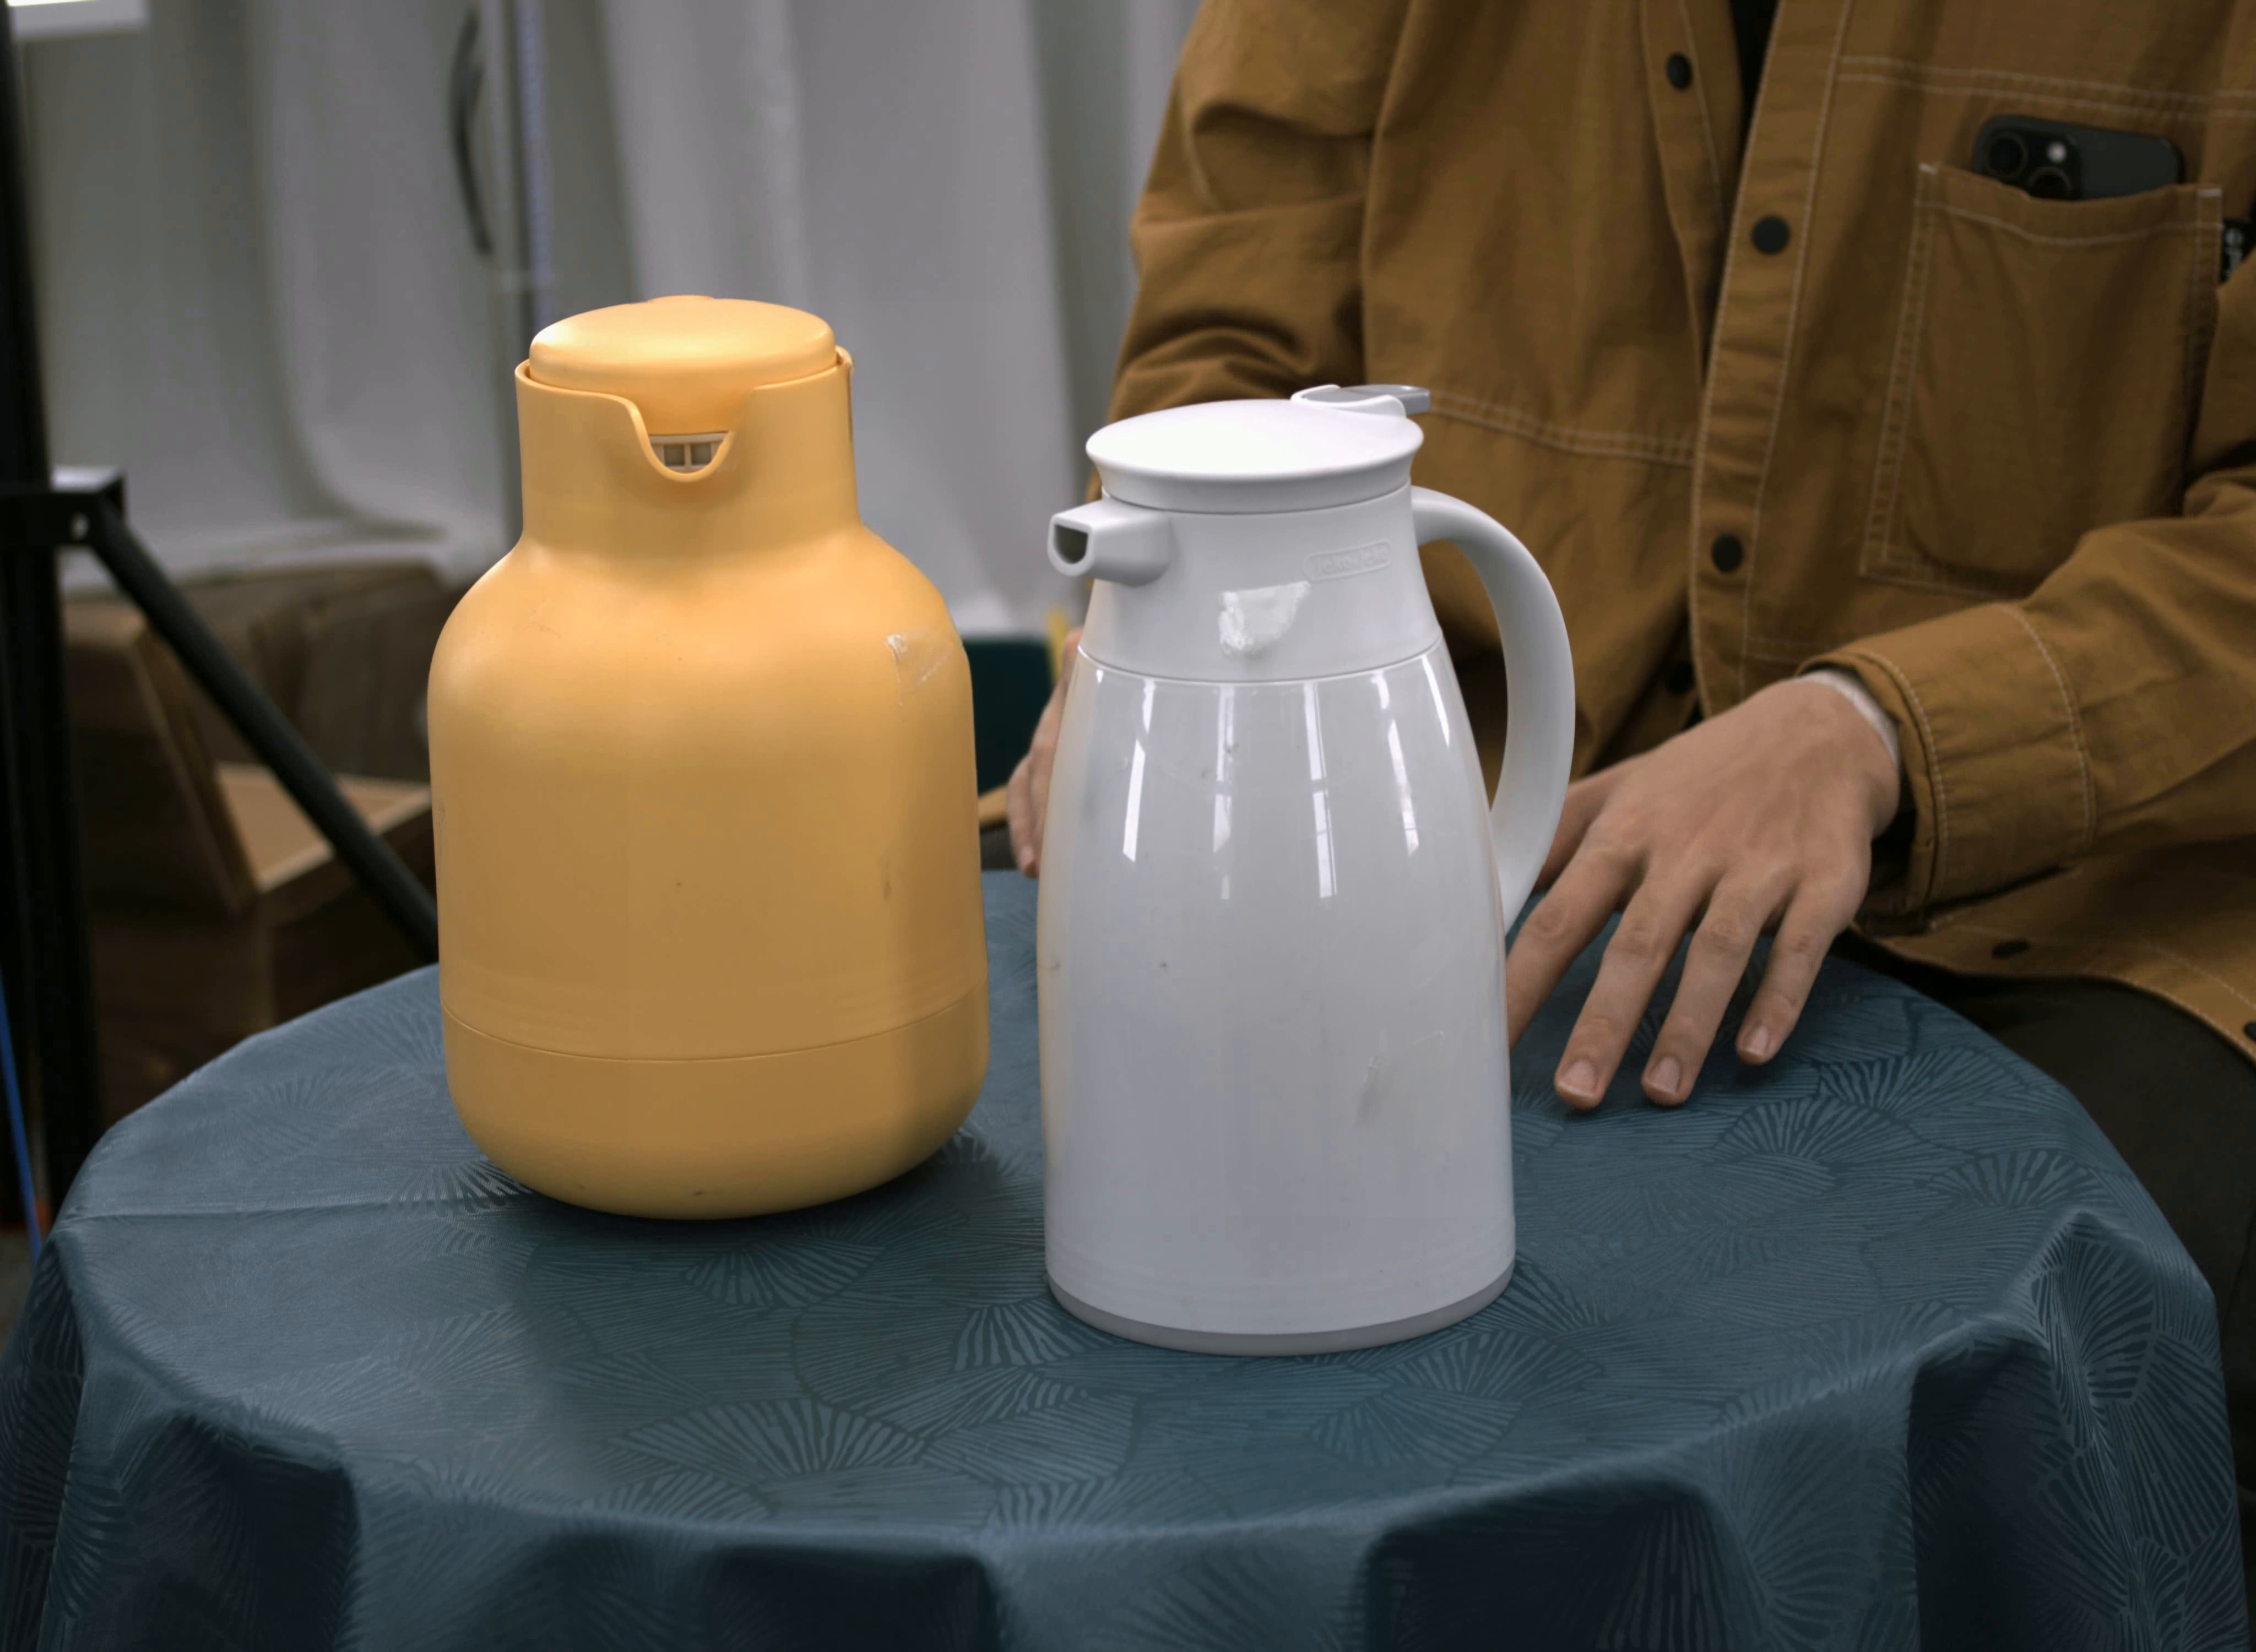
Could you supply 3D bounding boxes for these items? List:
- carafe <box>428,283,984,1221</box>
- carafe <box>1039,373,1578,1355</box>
[{"bbox_3d":[-0.124,-0.030,1.587,0.162,0.260,0.203,0,16,-2],"label":"carafe"},{"bbox_3d":[0.054,0.002,1.464,0.164,0.248,0.135,-12,18,-33],"label":"carafe"}]
